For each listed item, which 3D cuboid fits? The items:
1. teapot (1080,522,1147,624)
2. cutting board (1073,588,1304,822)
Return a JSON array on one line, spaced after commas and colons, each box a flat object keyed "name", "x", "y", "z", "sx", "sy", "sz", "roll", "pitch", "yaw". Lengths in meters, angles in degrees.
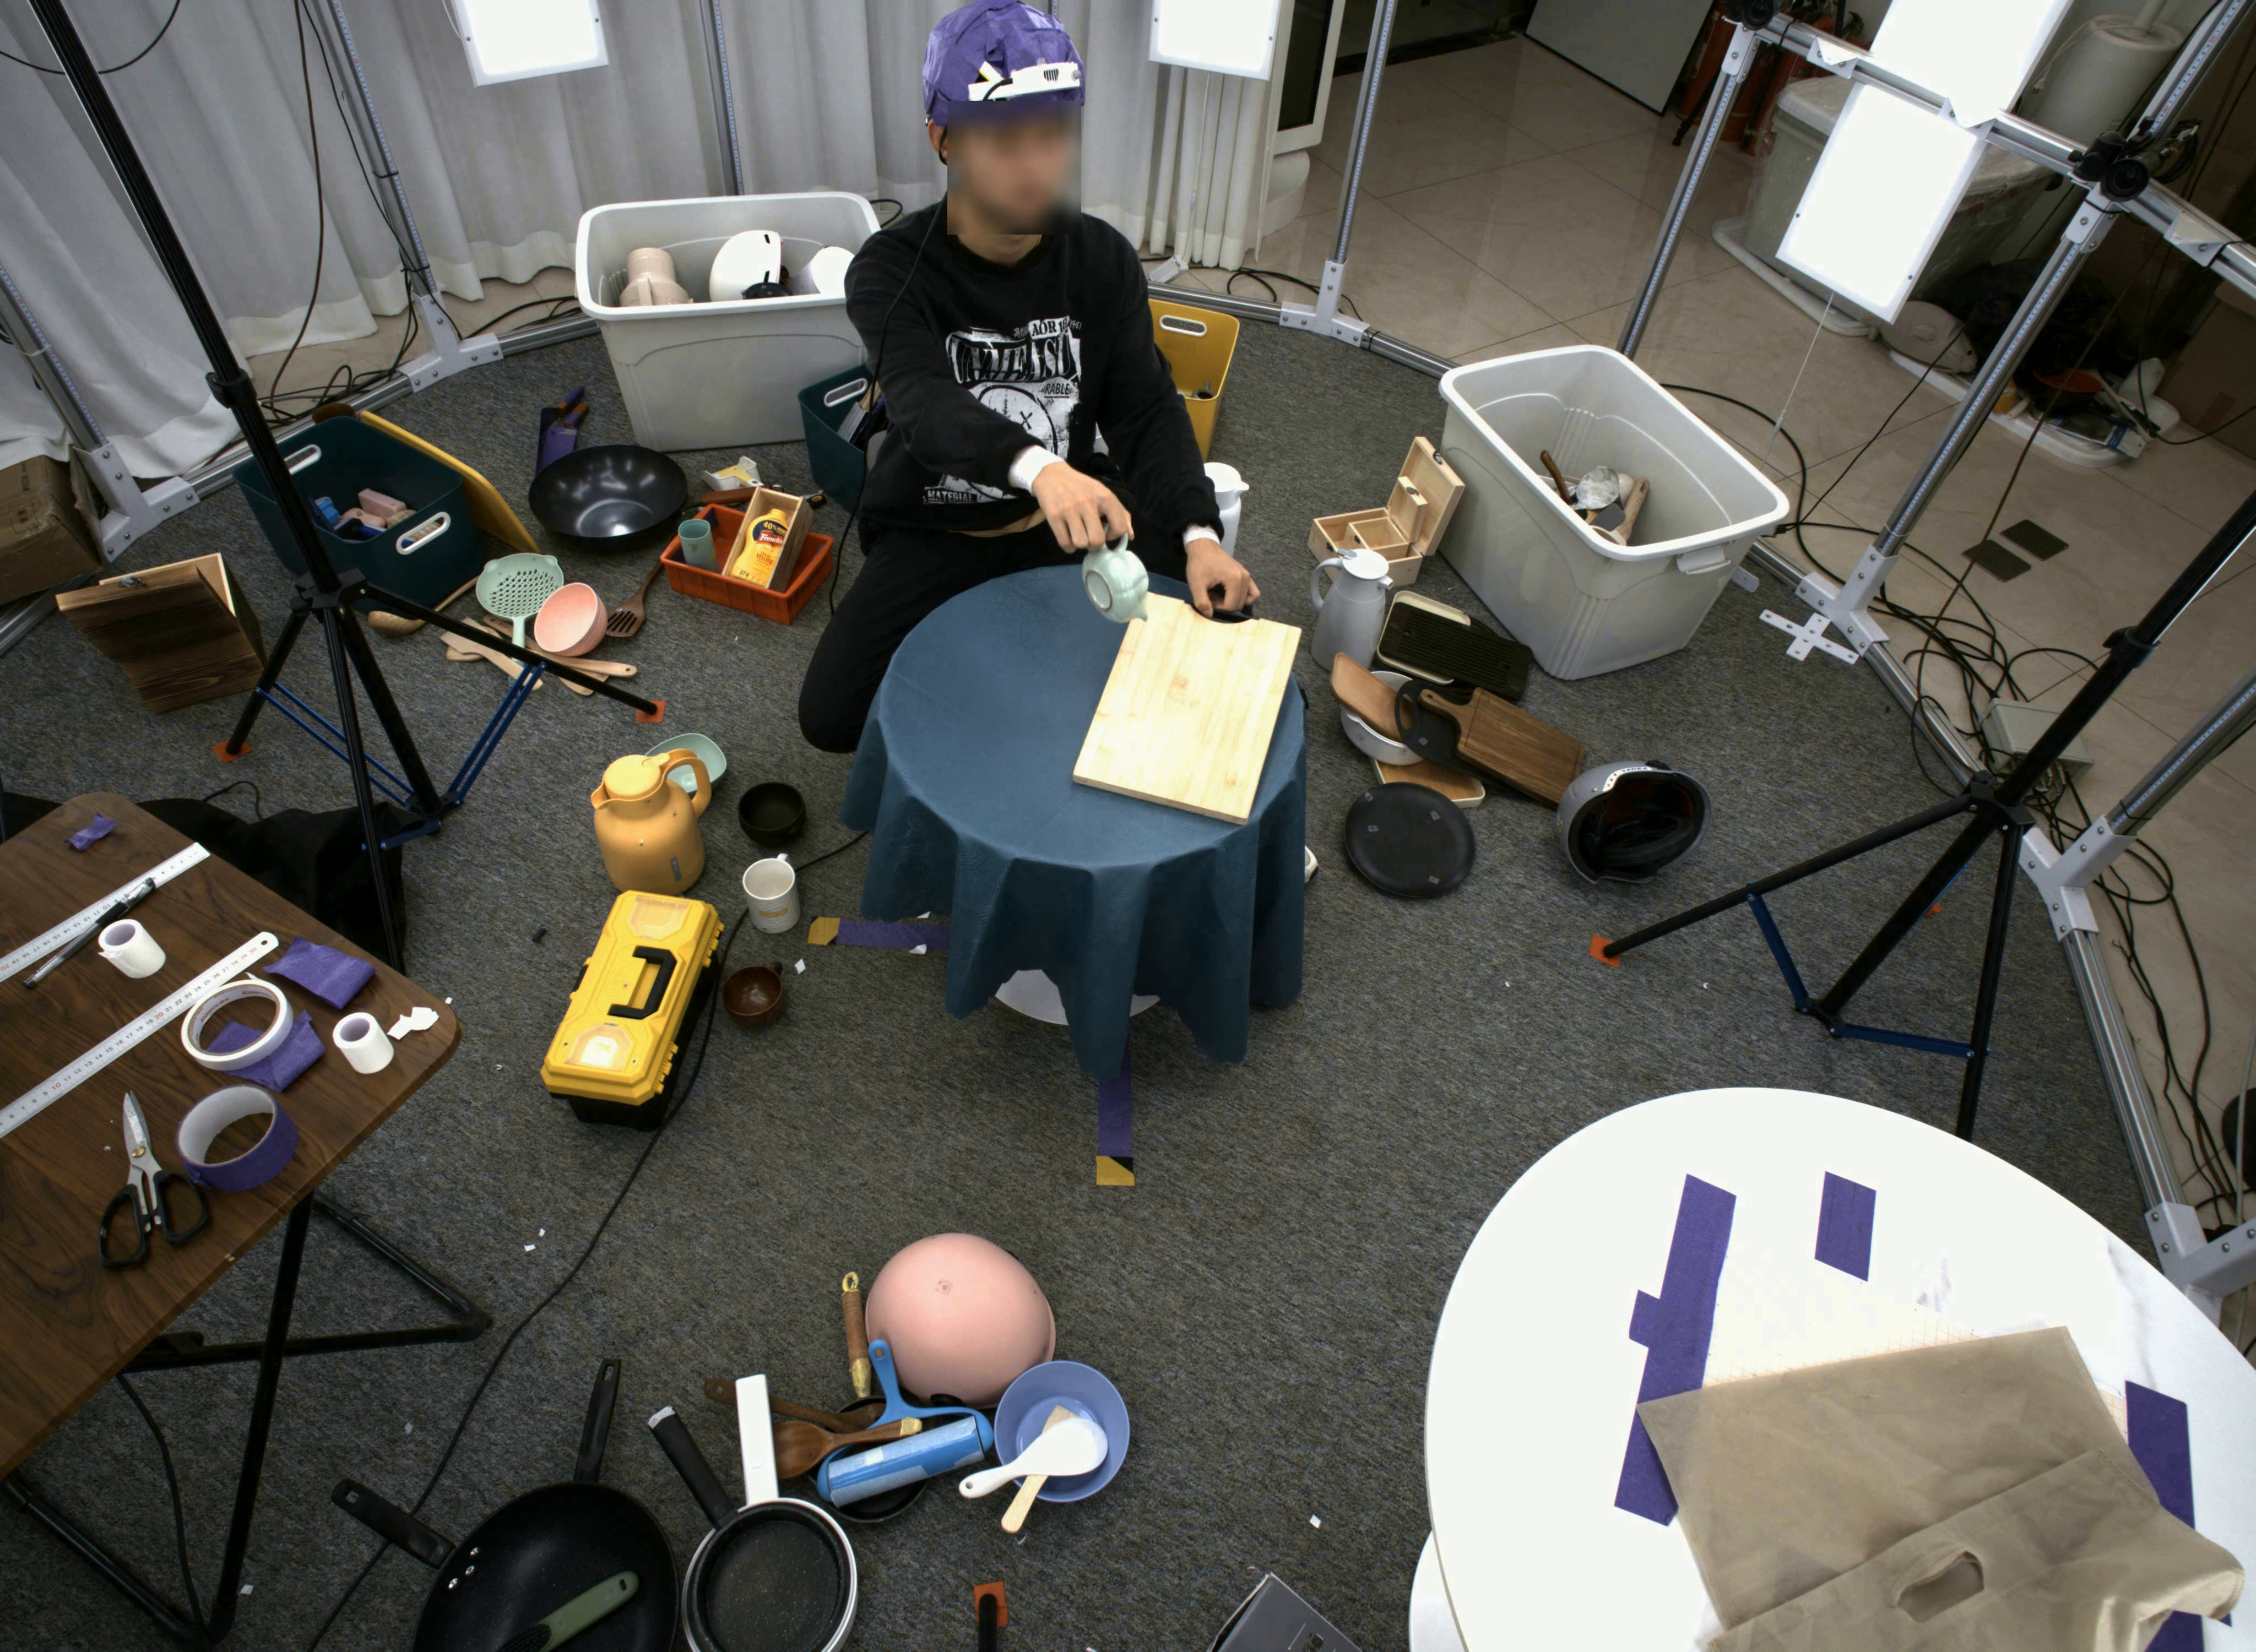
[{"name": "teapot", "x": -0.017, "y": -0.303, "z": 1.578, "sx": 0.062, "sy": 0.134, "sz": 0.097, "roll": -28, "pitch": 32, "yaw": -24}, {"name": "cutting board", "x": 0.090, "y": -0.176, "z": 1.786, "sx": 0.251, "sy": 0.023, "sz": 0.356, "roll": 13, "pitch": 58, "yaw": 8}]
